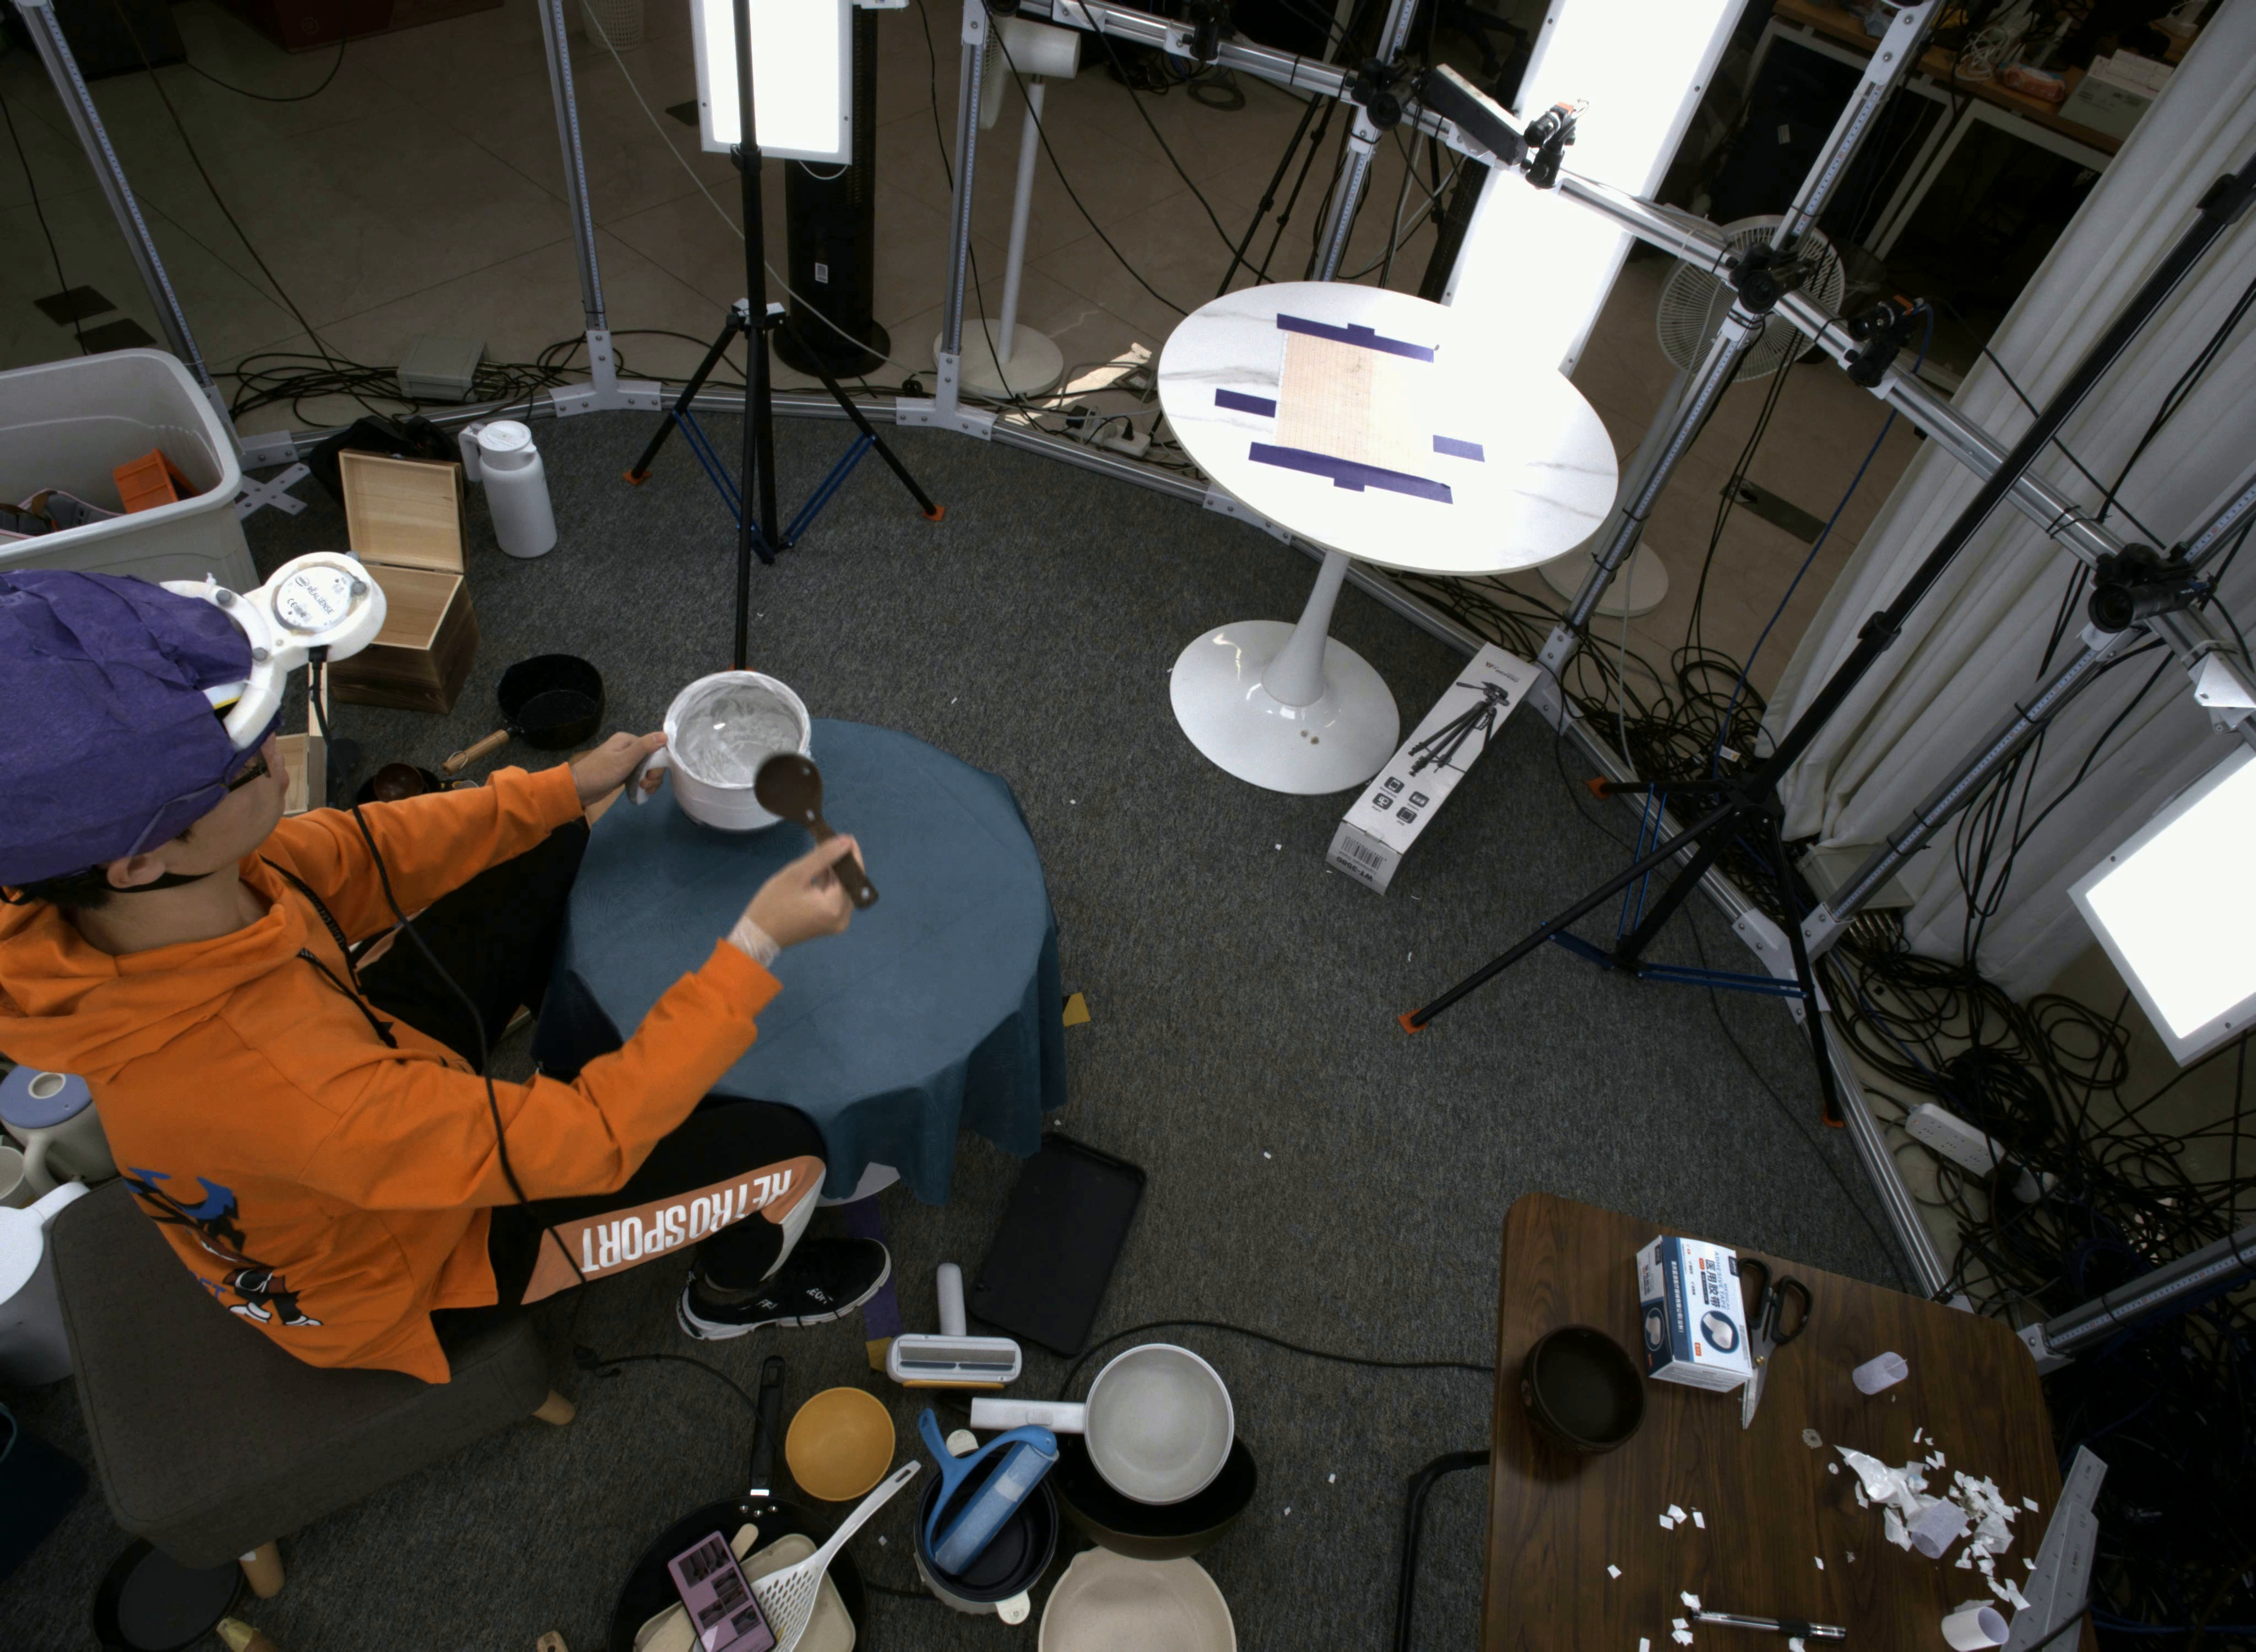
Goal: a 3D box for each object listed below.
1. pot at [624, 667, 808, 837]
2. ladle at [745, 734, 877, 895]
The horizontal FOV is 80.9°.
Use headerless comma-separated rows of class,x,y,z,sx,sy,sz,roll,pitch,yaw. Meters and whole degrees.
pot,-0.517,-0.083,1.612,0.235,0.138,0.175,-13,63,-22
ladle,-0.324,-0.018,1.318,0.076,0.074,0.264,-37,38,-11
